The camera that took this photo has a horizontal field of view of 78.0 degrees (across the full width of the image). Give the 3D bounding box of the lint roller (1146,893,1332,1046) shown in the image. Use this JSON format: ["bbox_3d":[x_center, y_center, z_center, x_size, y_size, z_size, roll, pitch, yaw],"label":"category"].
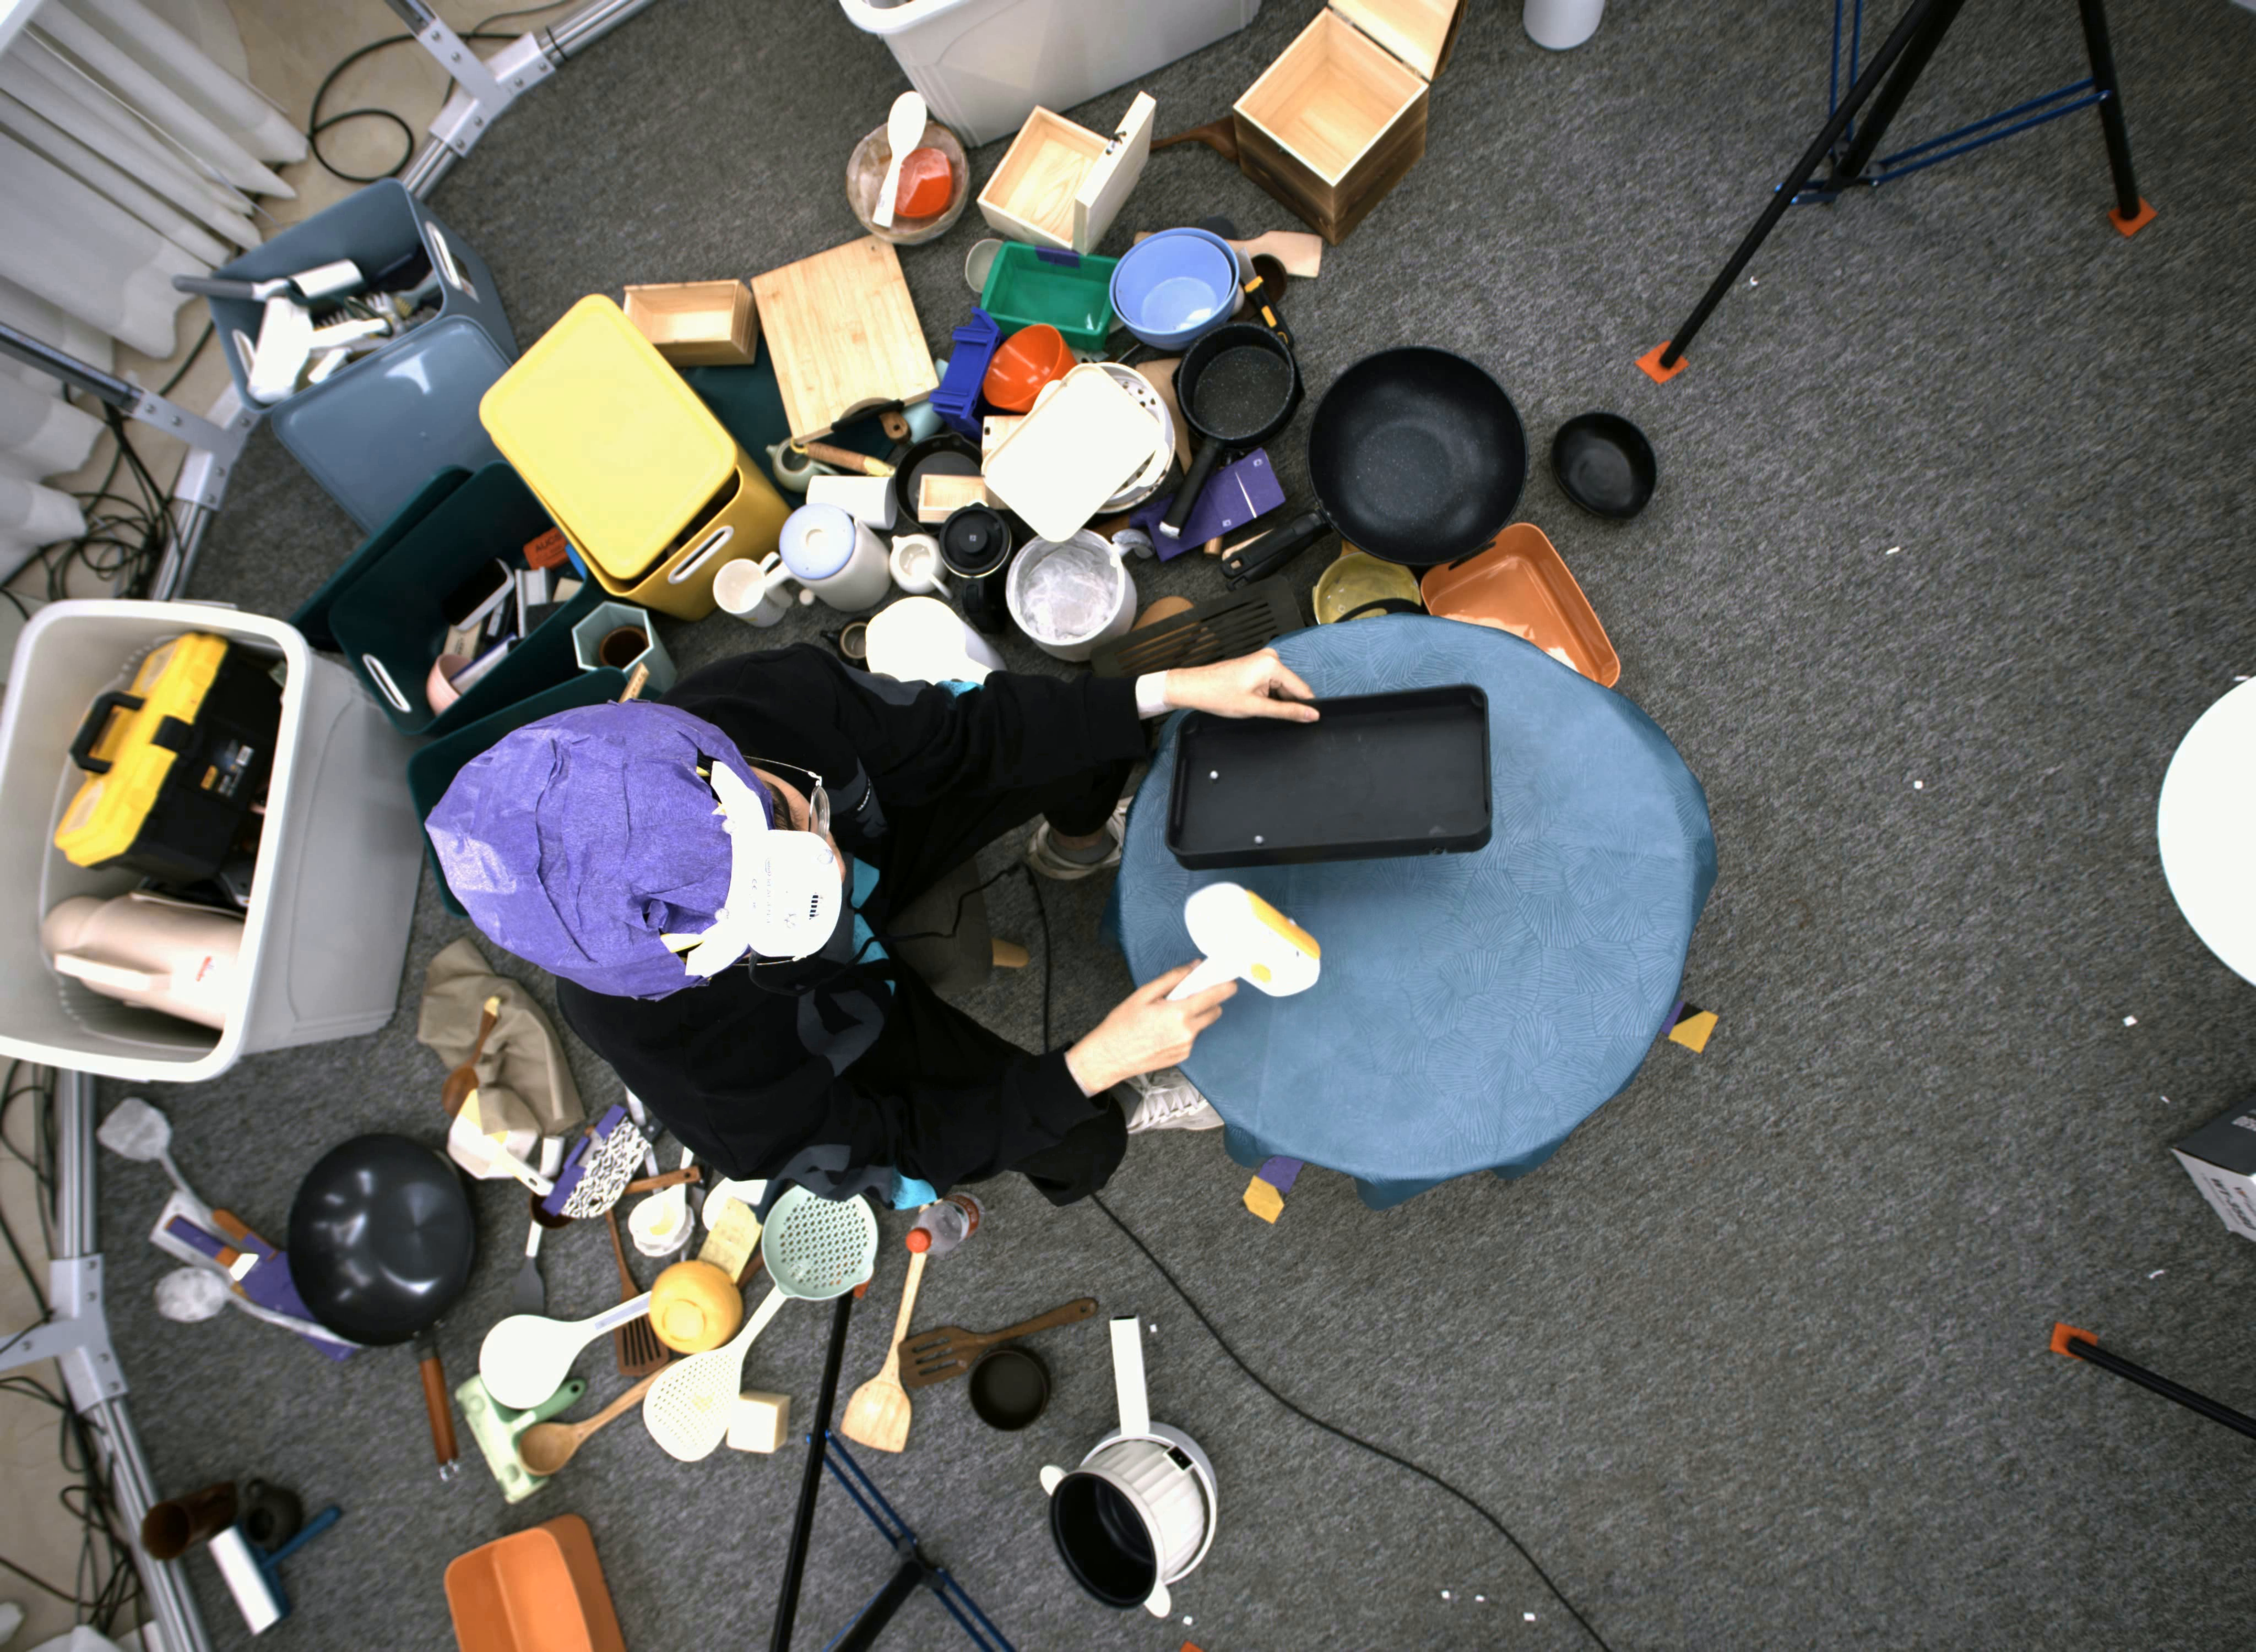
[{"bbox_3d":[0.090,0.149,1.368,0.195,0.193,0.073,-34,58,25],"label":"lint roller"}]

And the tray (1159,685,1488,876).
[{"bbox_3d":[0.192,-0.045,1.368,0.320,0.038,0.180,-5,58,17],"label":"tray"}]
